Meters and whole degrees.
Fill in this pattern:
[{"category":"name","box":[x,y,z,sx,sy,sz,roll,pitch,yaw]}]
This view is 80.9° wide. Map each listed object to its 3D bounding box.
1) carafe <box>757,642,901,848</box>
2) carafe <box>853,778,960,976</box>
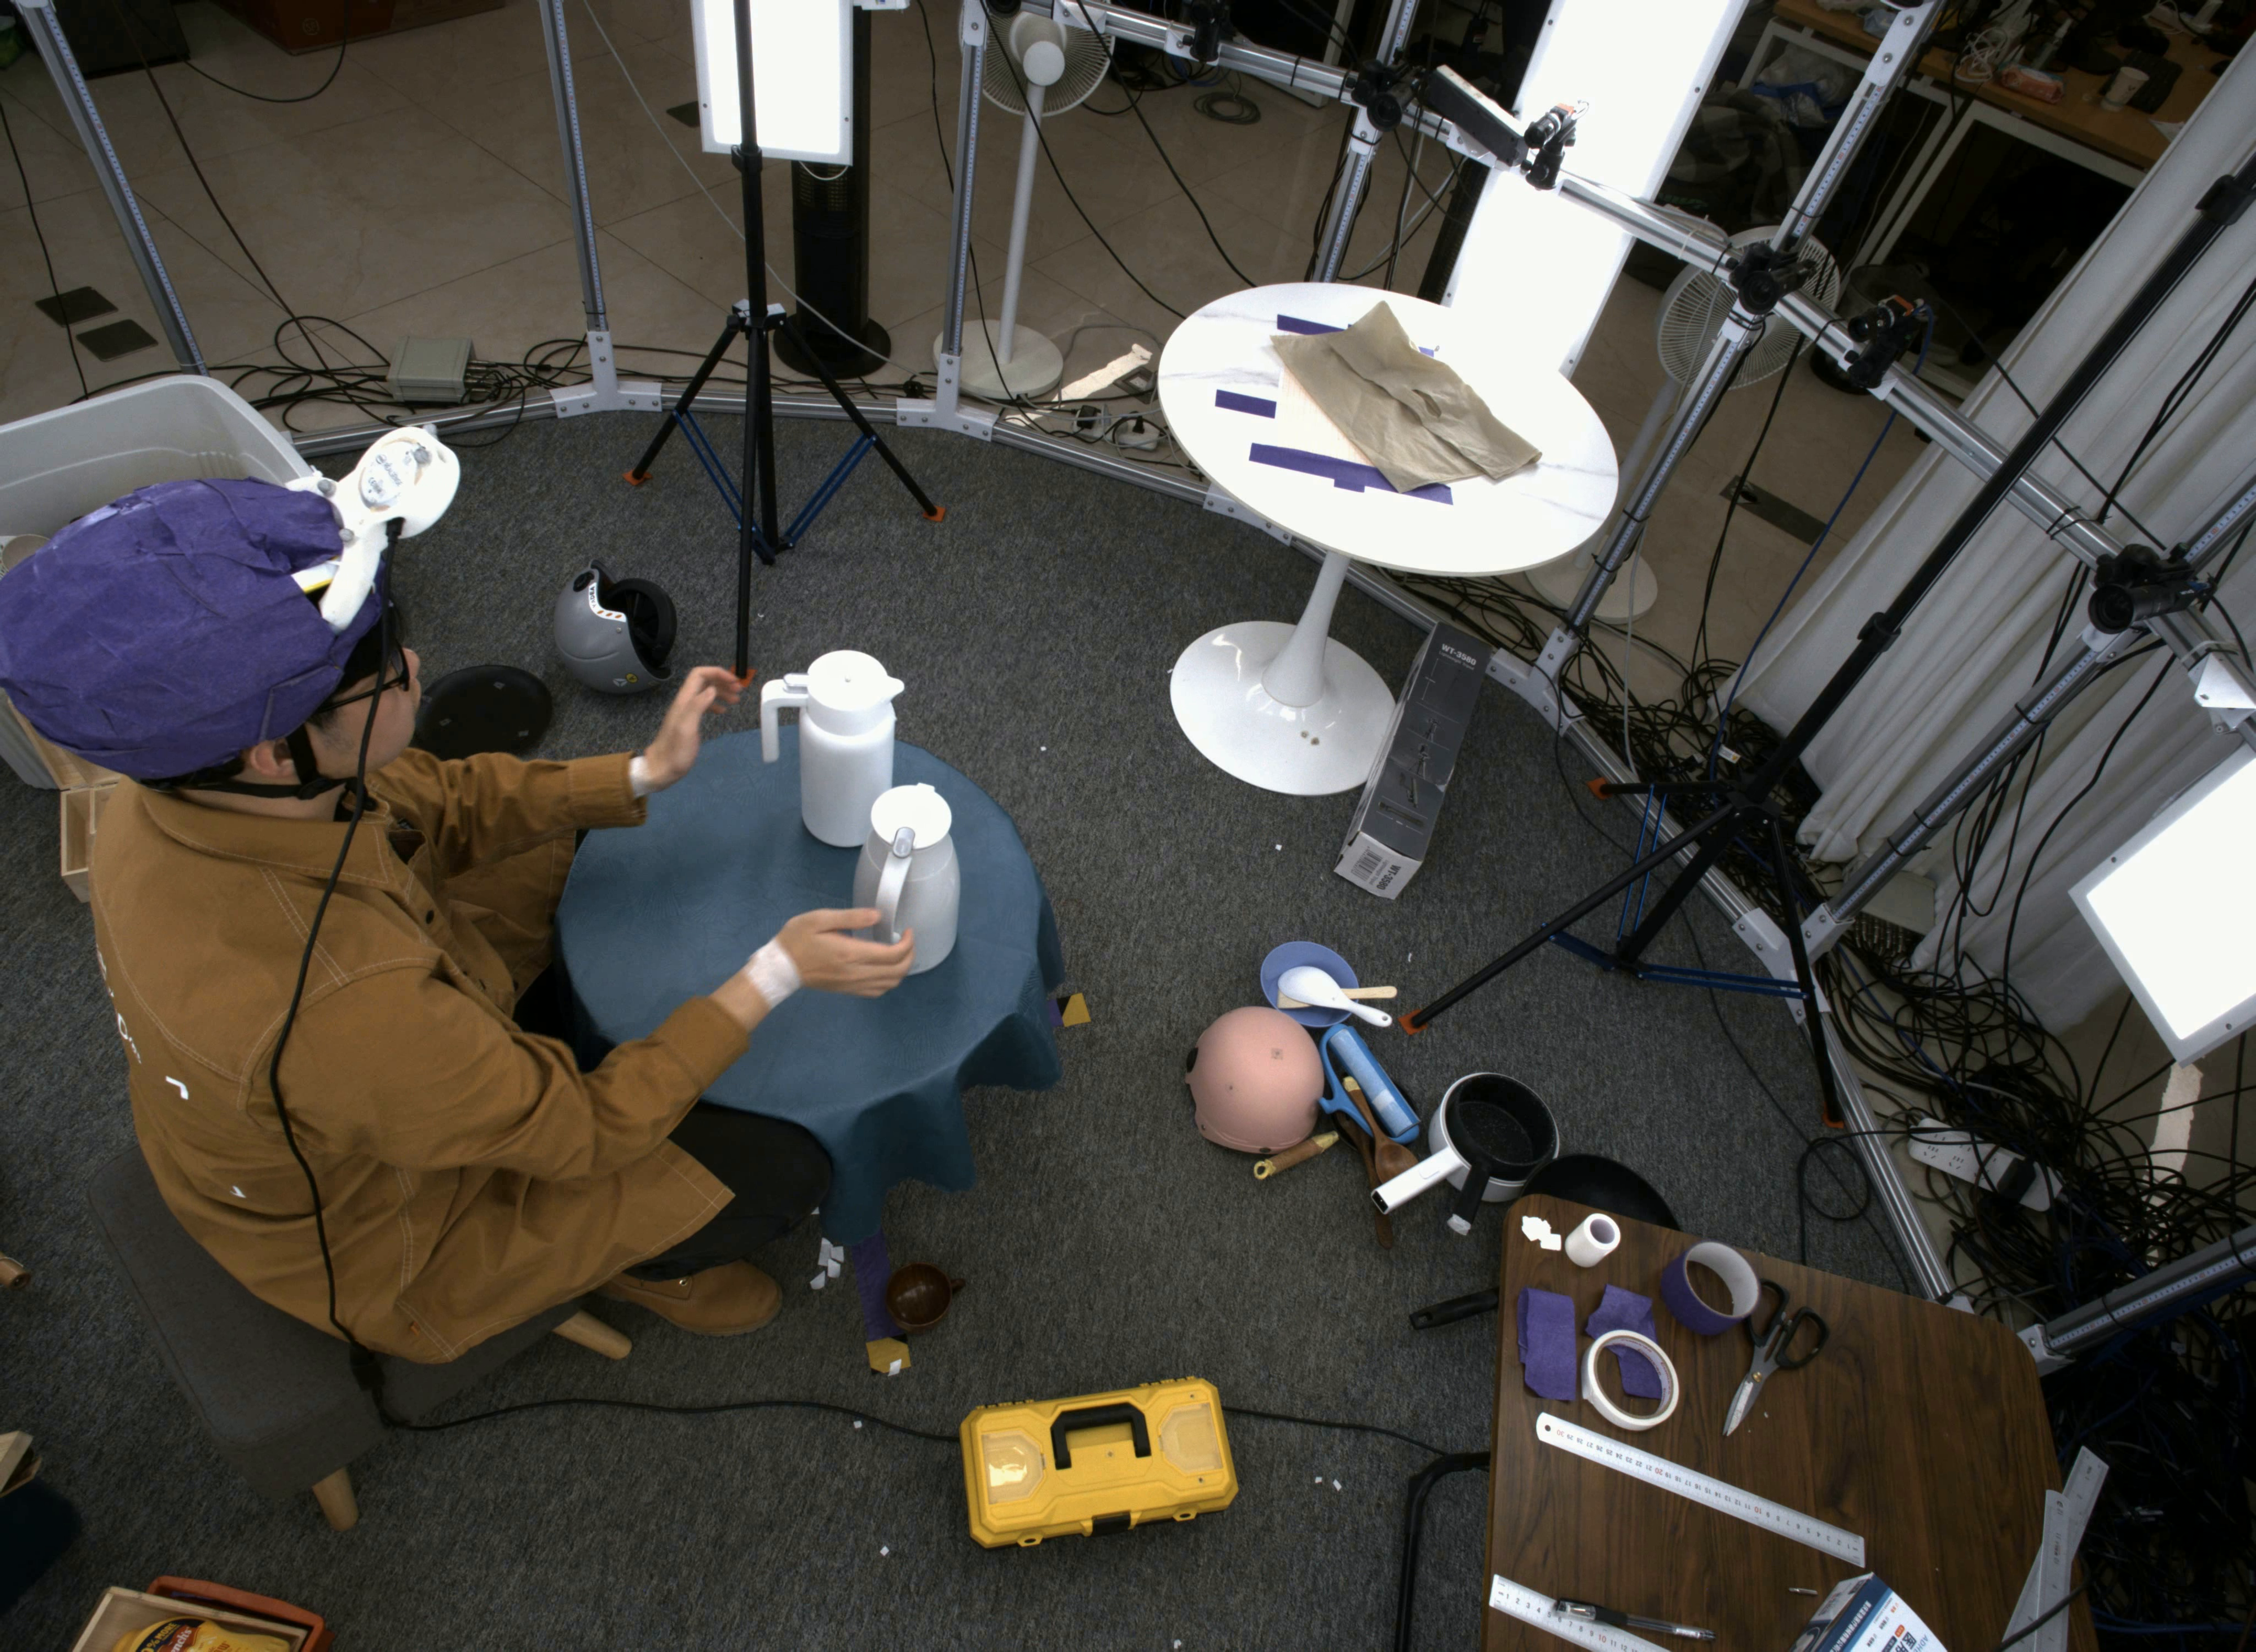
[{"category":"carafe","box":[-0.375,-0.097,1.634,0.173,0.274,0.121,-2,55,-14]},{"category":"carafe","box":[-0.268,0.070,1.548,0.131,0.254,0.165,13,52,-1]}]
